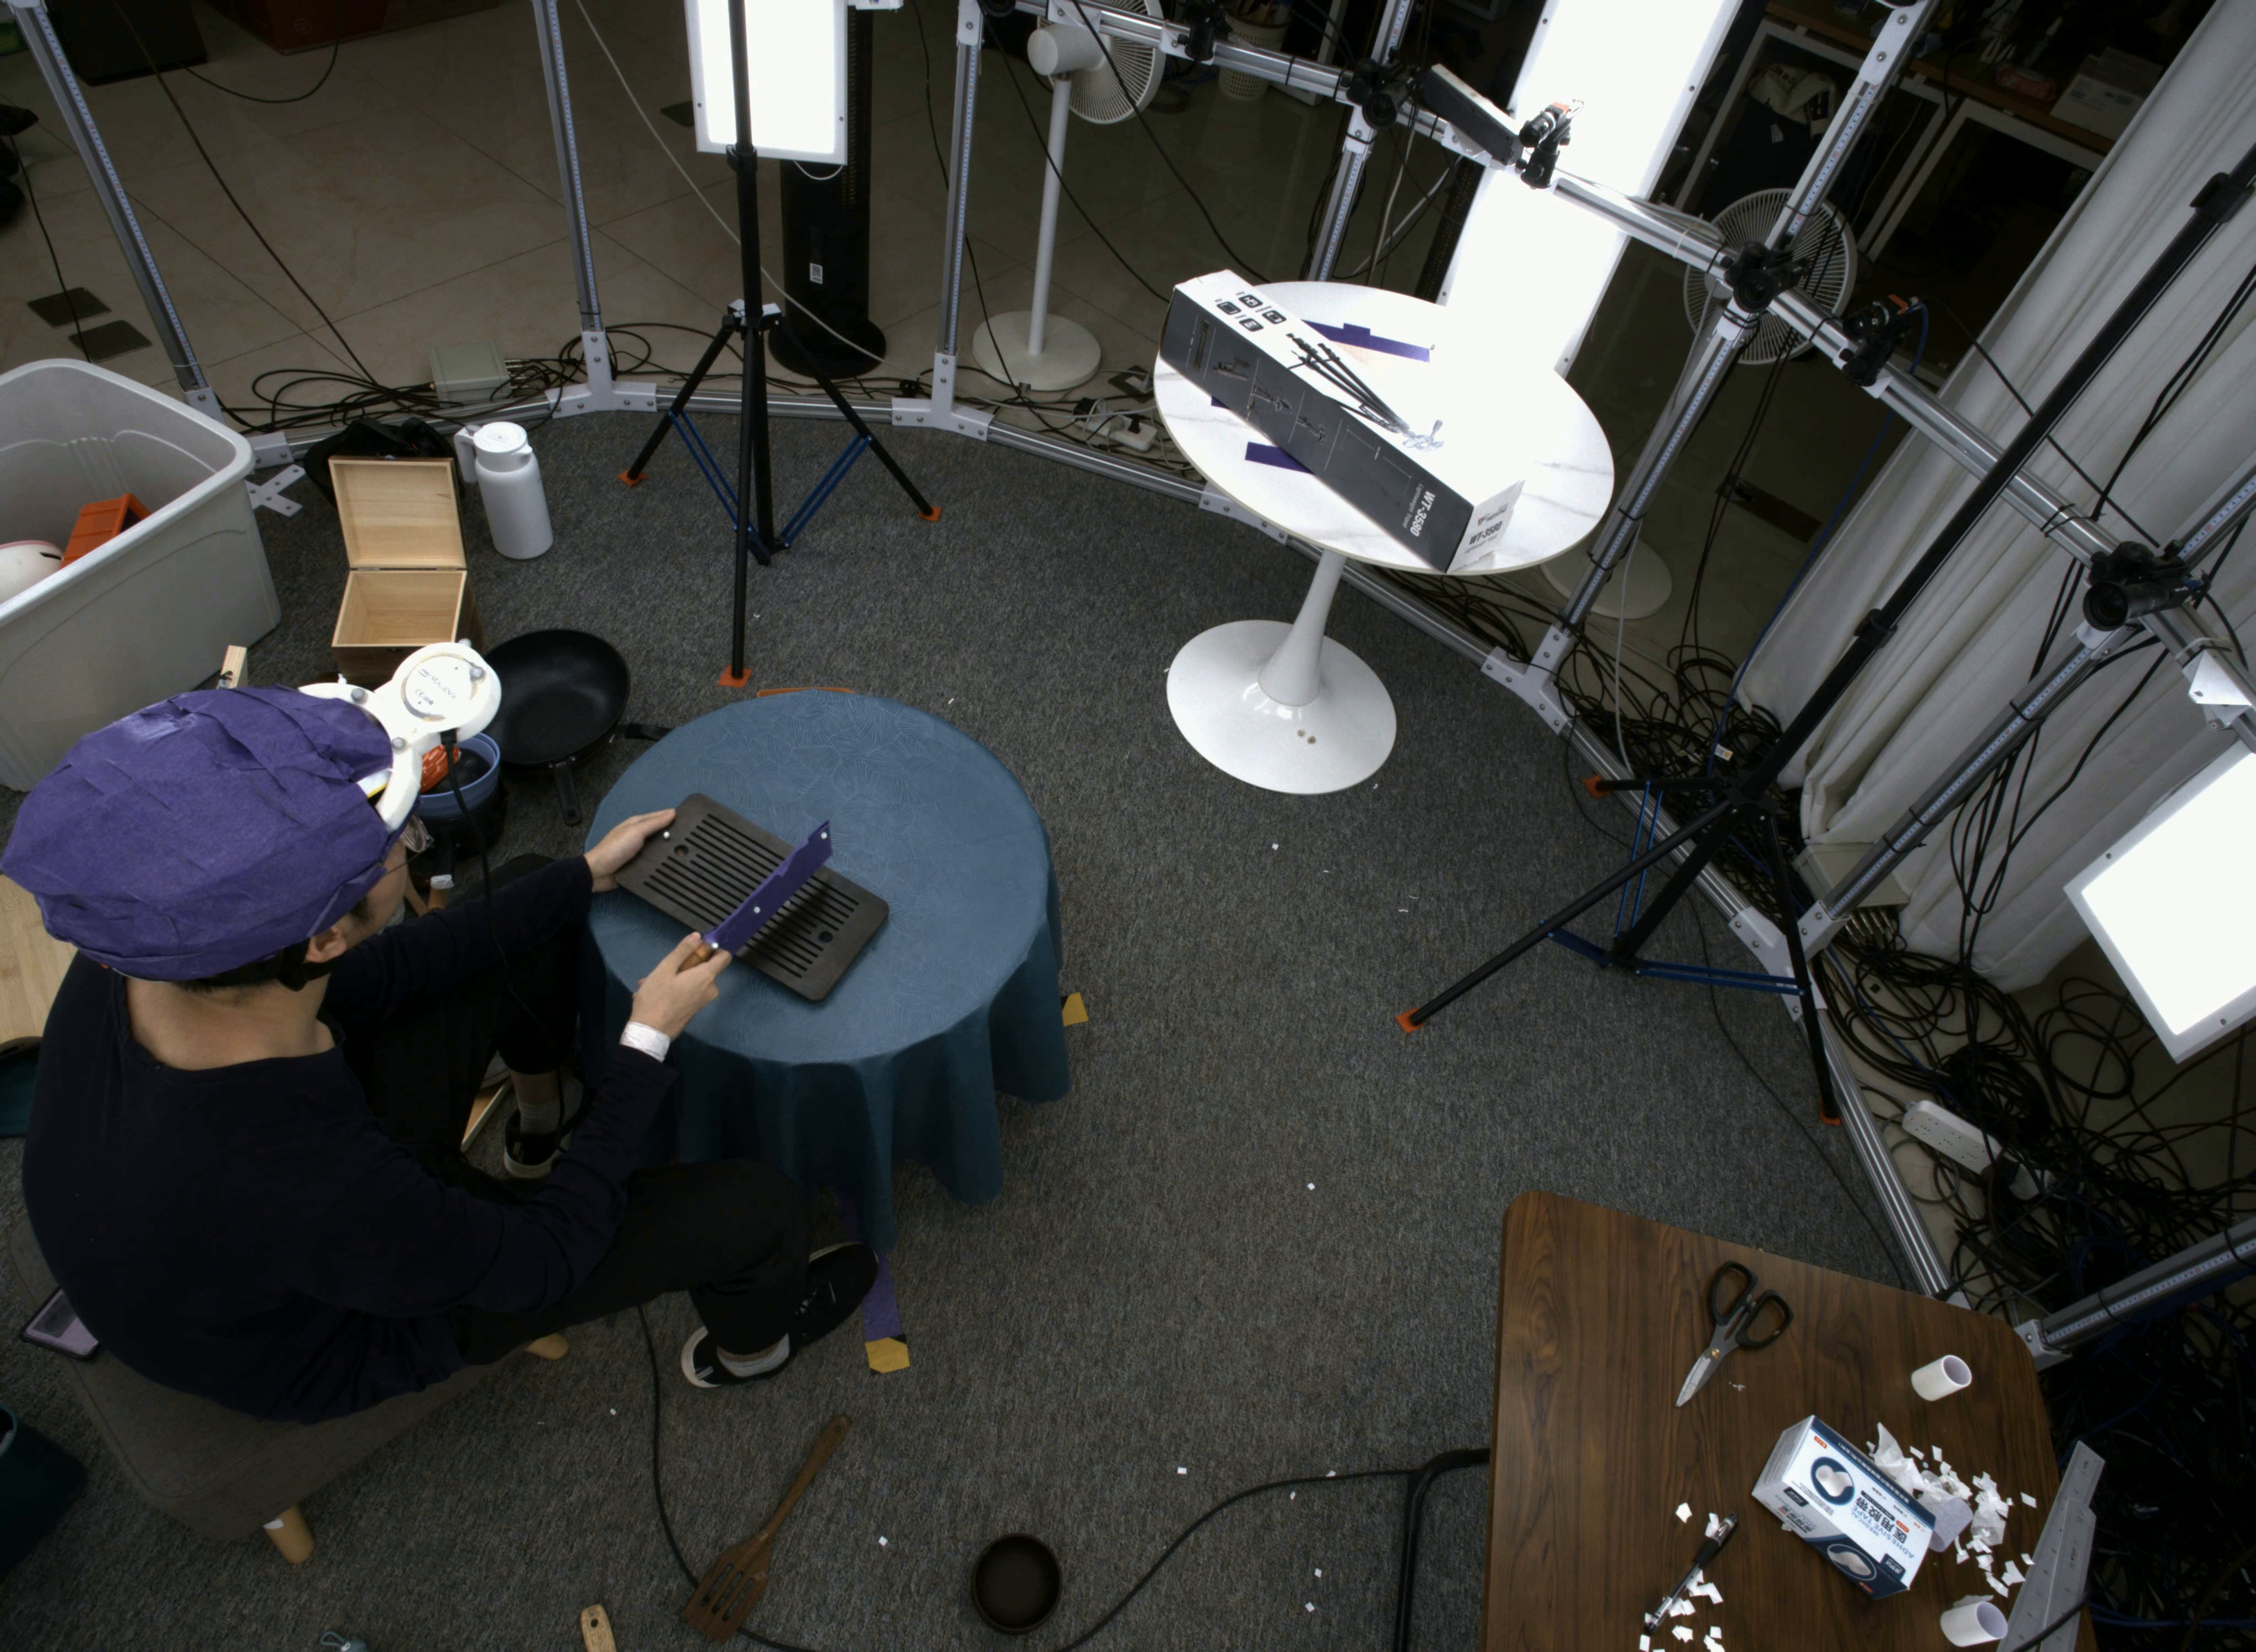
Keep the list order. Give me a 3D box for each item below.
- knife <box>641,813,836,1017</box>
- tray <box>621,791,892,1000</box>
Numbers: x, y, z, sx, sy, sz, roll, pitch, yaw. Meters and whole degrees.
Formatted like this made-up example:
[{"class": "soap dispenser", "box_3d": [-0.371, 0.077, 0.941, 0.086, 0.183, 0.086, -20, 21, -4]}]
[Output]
[{"class": "knife", "box_3d": [-0.450, 0.114, 1.533, 0.031, 0.106, 0.315, 33, 59, 13]}, {"class": "tray", "box_3d": [-0.467, 0.084, 1.631, 0.304, 0.019, 0.169, 30, 52, 1]}]
